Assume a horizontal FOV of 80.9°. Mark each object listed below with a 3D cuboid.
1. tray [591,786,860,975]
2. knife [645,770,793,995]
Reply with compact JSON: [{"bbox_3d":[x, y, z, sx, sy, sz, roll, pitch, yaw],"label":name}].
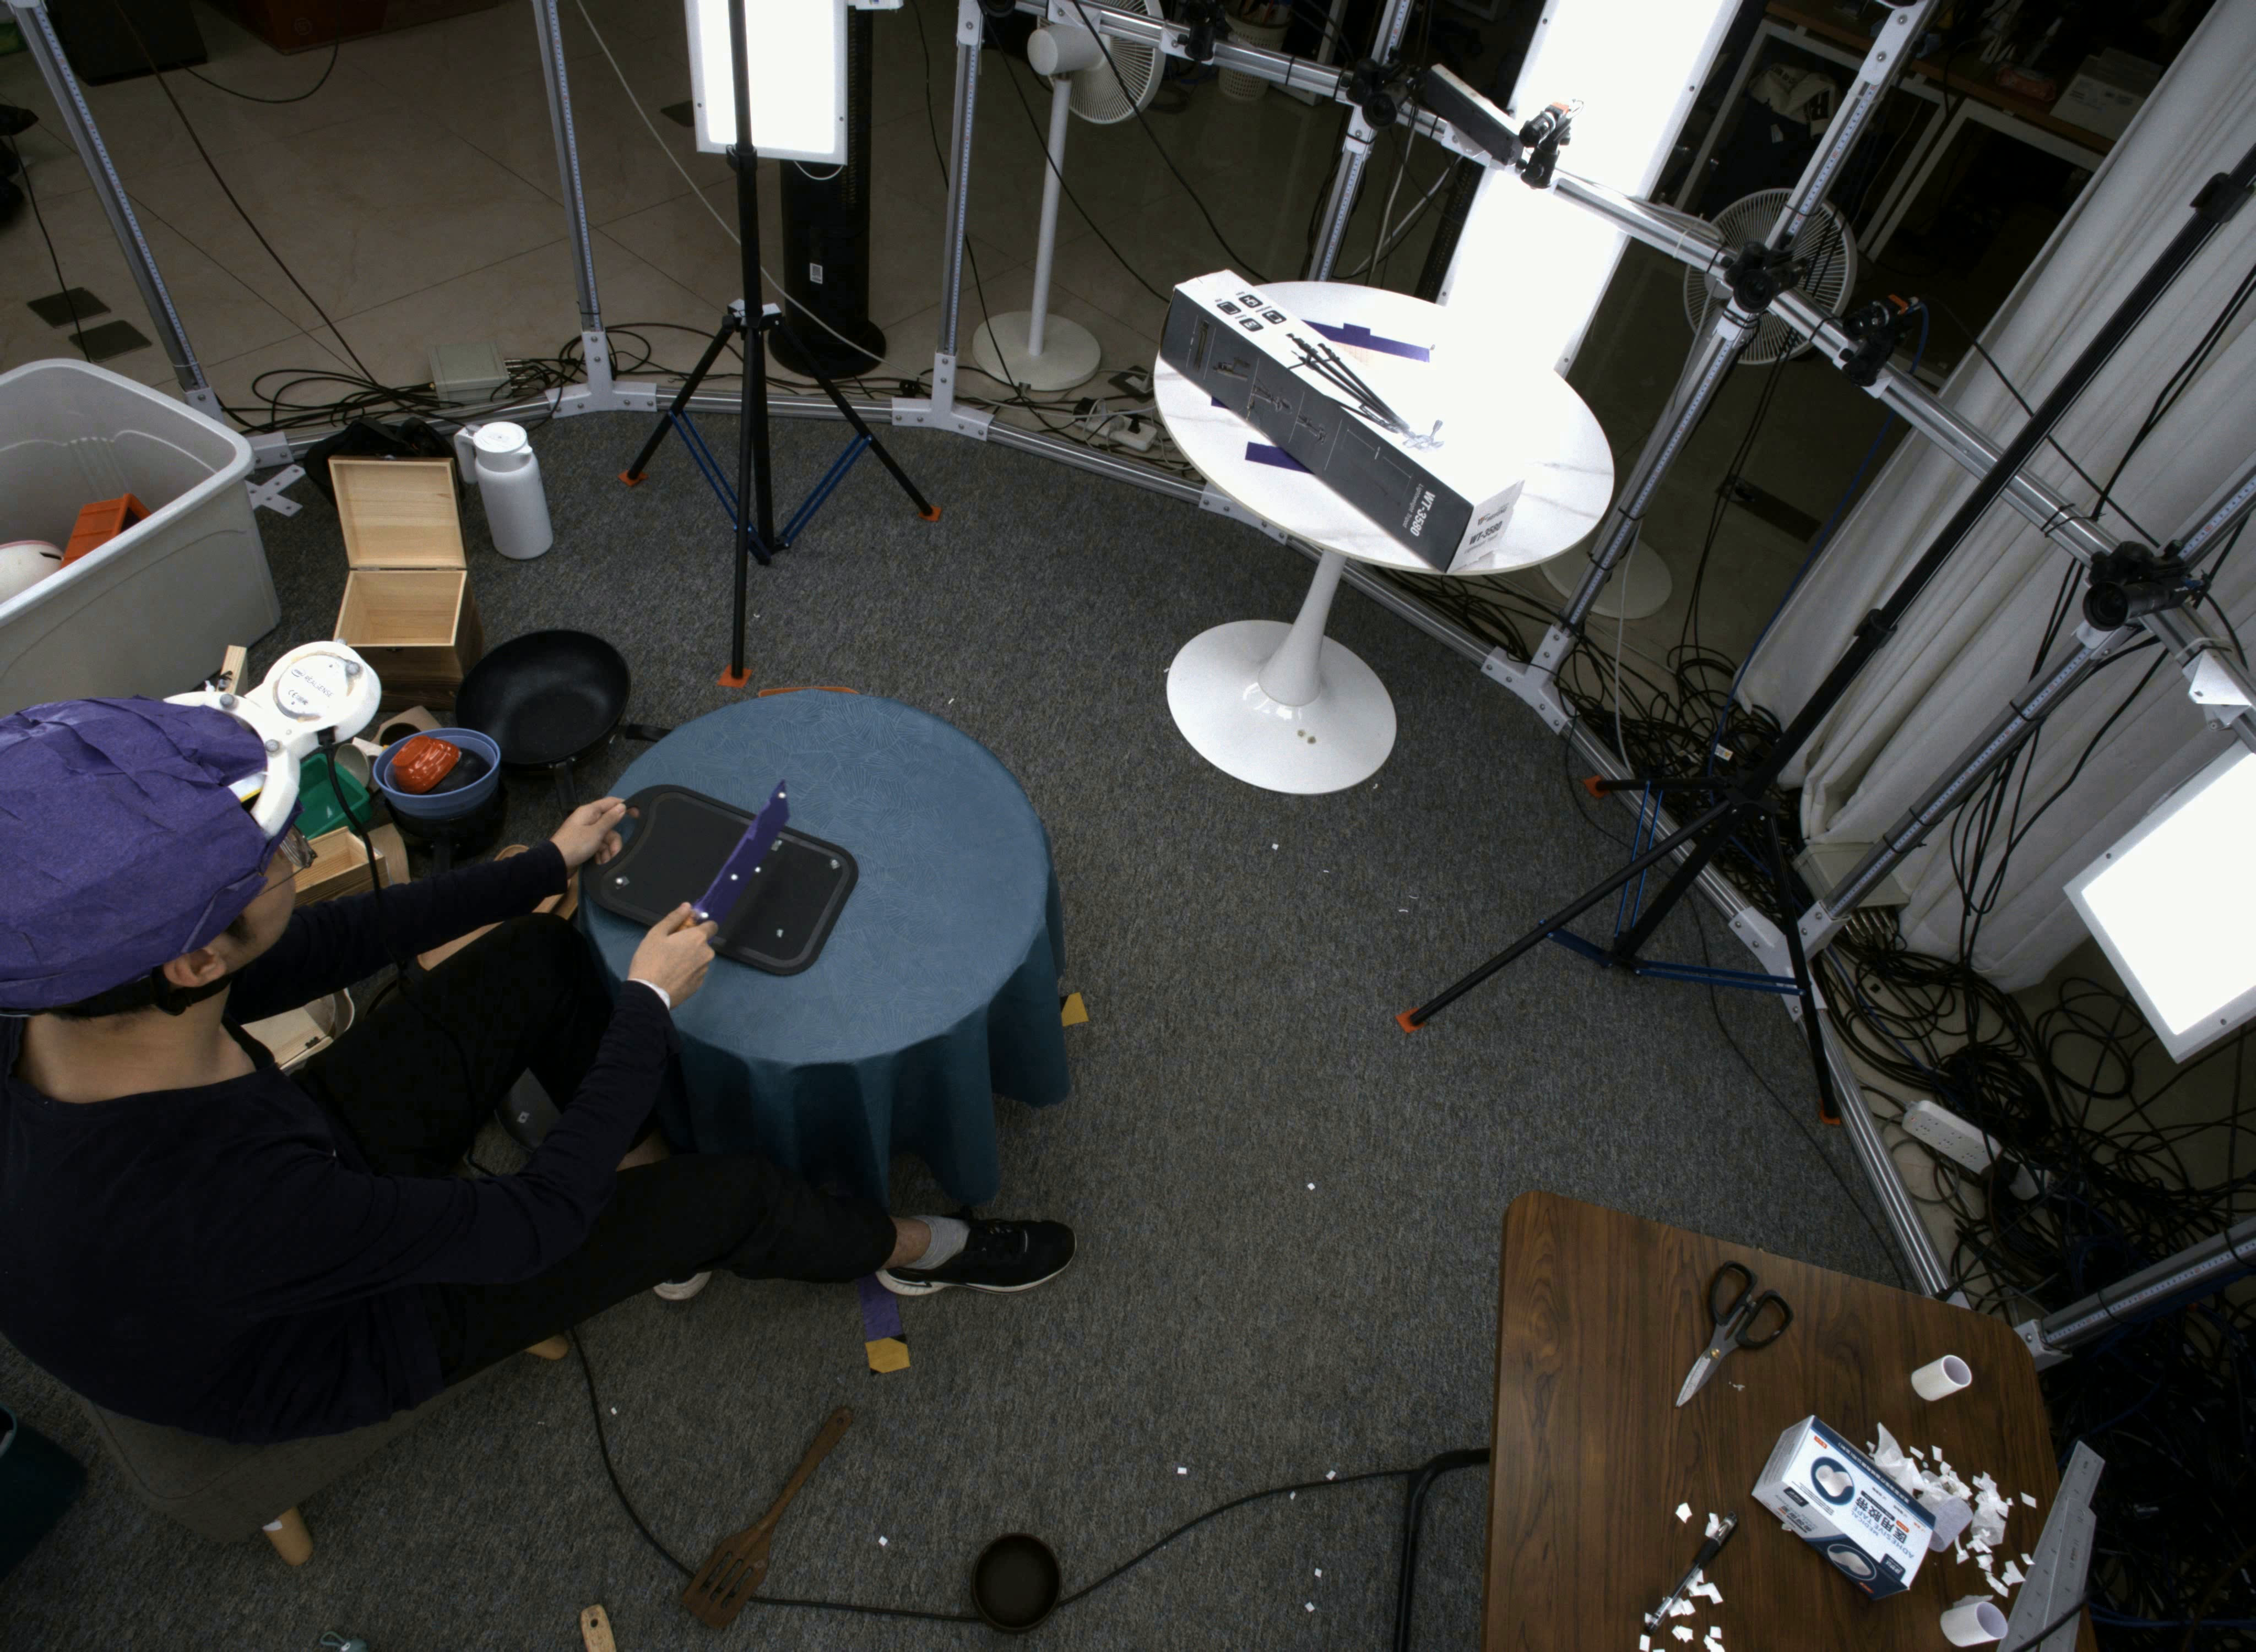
[{"bbox_3d":[-0.519,0.060,1.646,0.324,0.010,0.209,22,52,-4],"label":"tray"},{"bbox_3d":[-0.479,0.078,1.546,0.032,0.106,0.313,20,56,8],"label":"knife"}]
